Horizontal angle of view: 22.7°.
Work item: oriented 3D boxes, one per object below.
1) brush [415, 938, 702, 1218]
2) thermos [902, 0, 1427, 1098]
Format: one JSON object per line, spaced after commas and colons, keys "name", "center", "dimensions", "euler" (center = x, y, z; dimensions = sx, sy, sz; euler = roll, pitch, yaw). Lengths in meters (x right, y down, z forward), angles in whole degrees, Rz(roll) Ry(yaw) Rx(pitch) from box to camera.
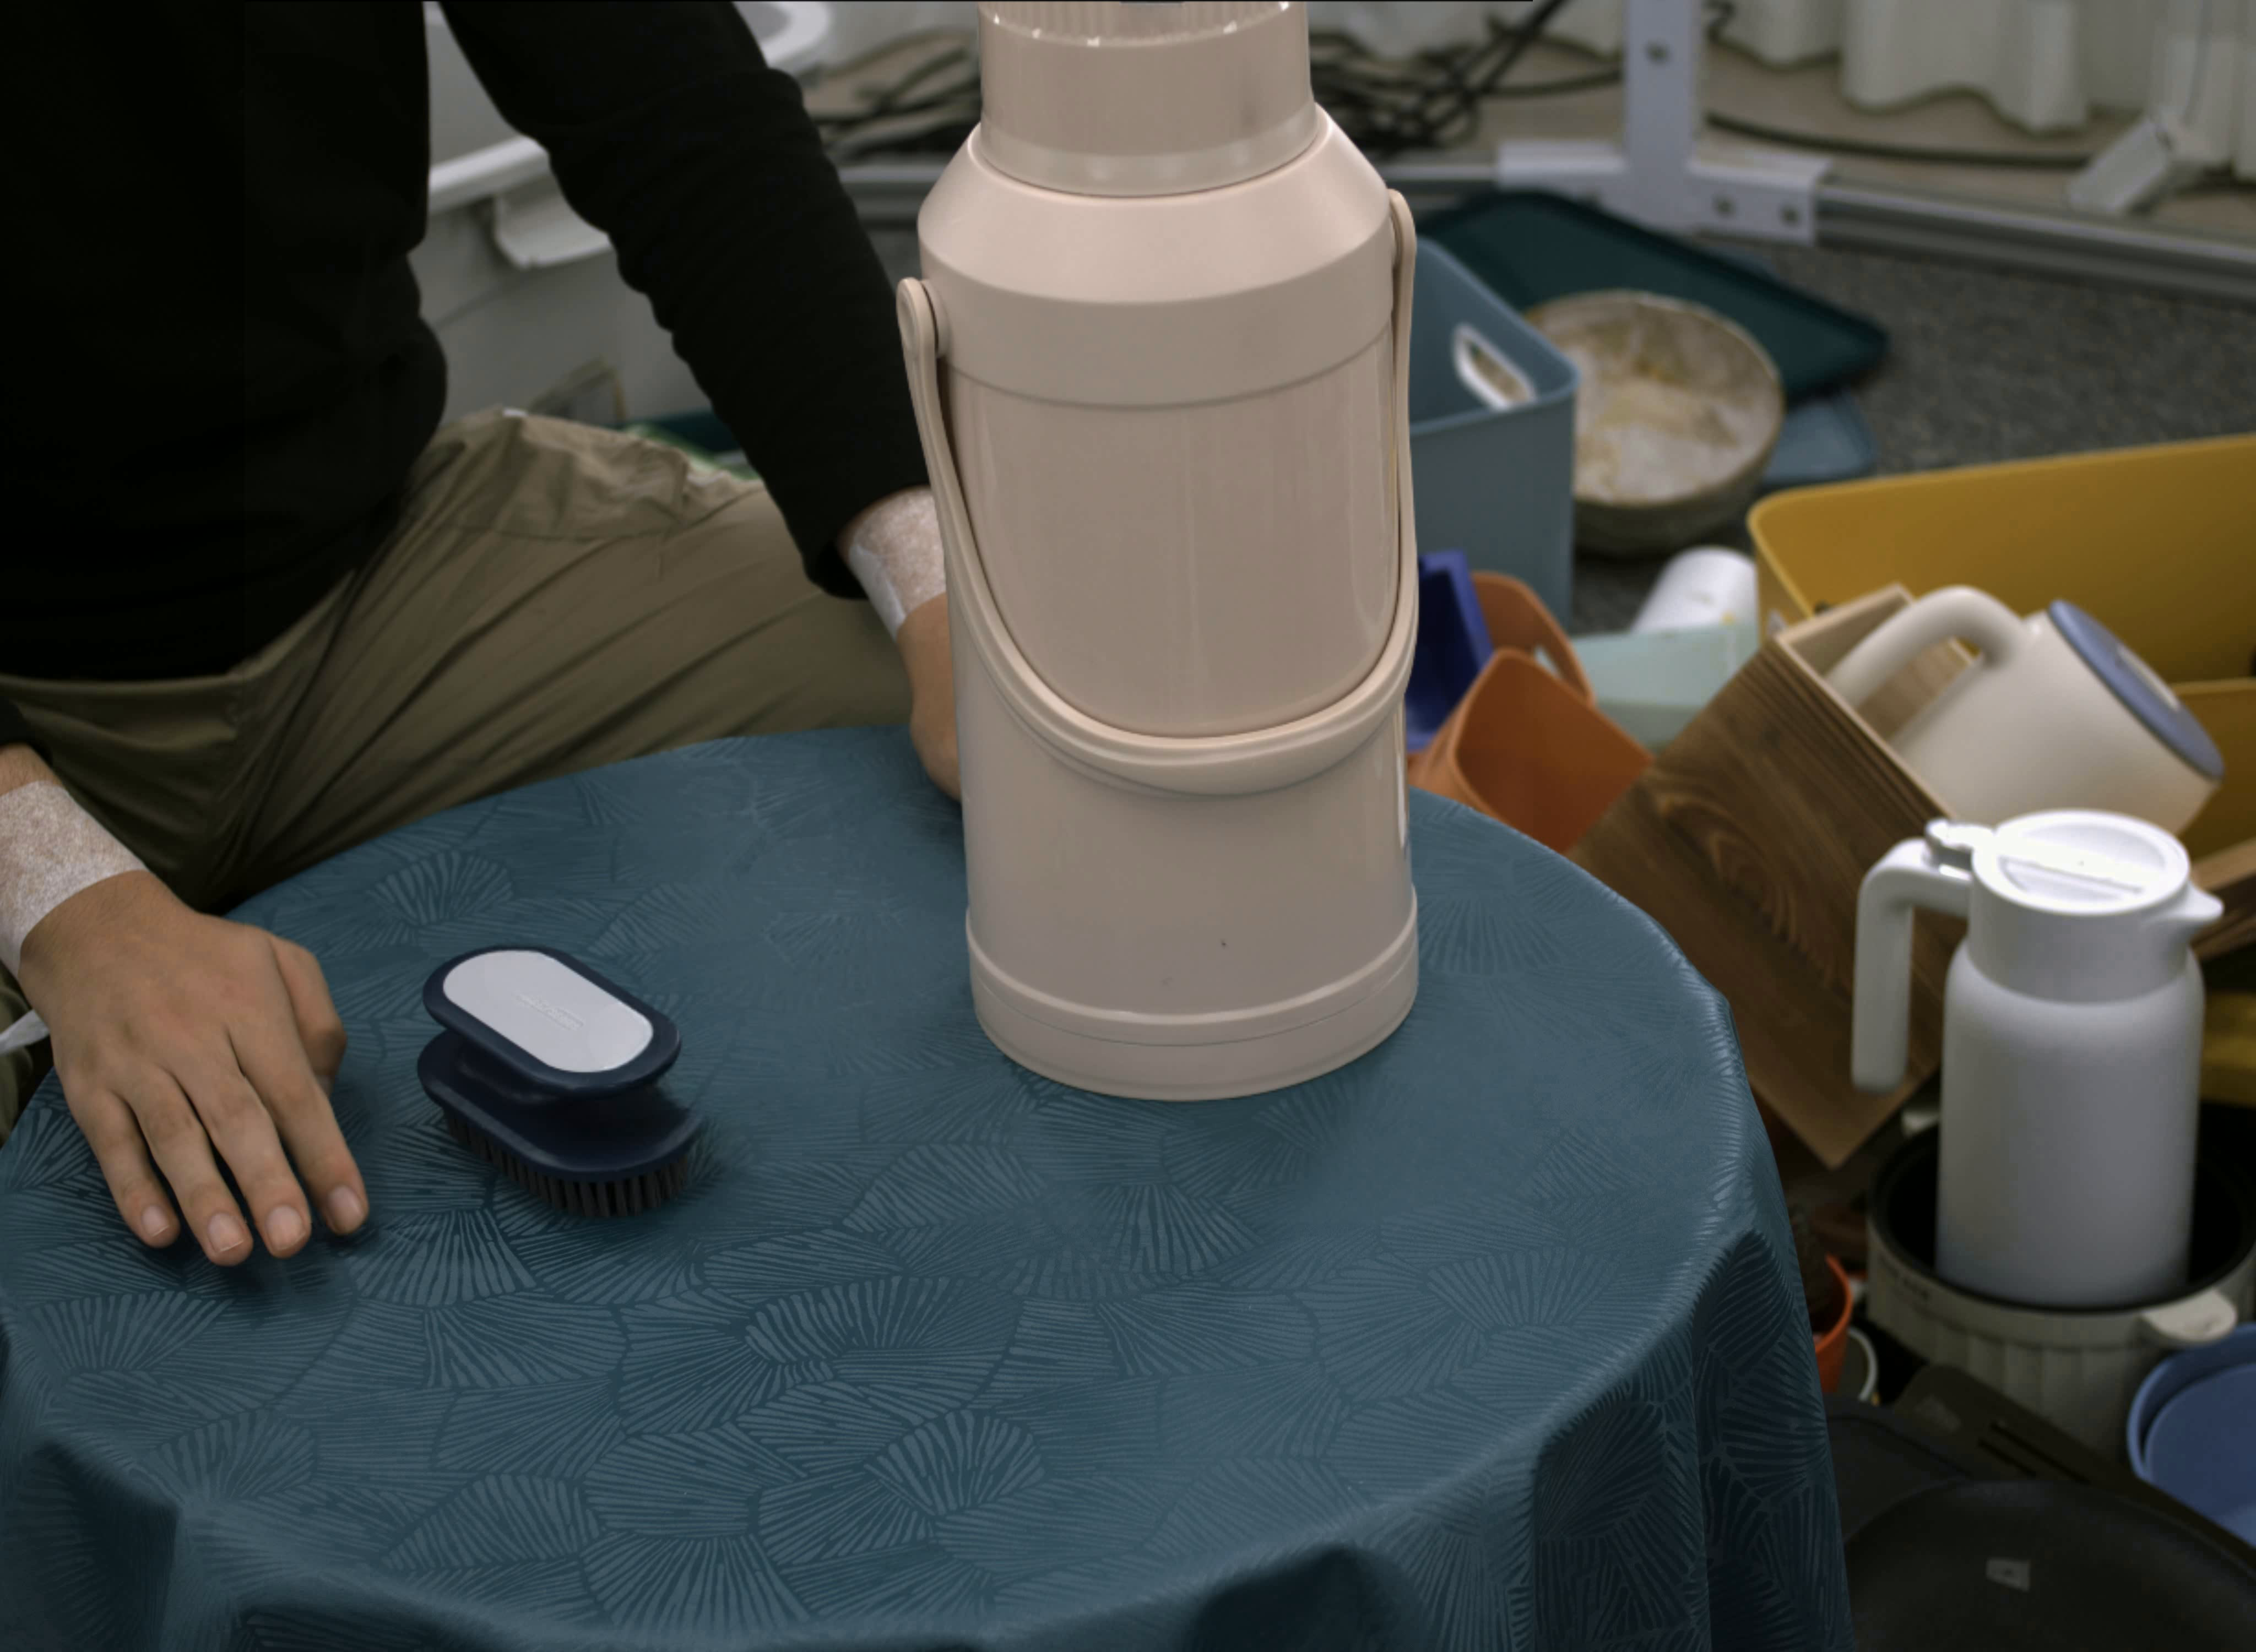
{"name": "brush", "center": [-0.192, 0.087, 1.889], "dimensions": [0.068, 0.060, 0.122], "euler": [-18, 32, -33]}
{"name": "thermos", "center": [0.012, -0.125, 1.910], "dimensions": [0.176, 0.402, 0.209], "euler": [-13, 28, -16]}
